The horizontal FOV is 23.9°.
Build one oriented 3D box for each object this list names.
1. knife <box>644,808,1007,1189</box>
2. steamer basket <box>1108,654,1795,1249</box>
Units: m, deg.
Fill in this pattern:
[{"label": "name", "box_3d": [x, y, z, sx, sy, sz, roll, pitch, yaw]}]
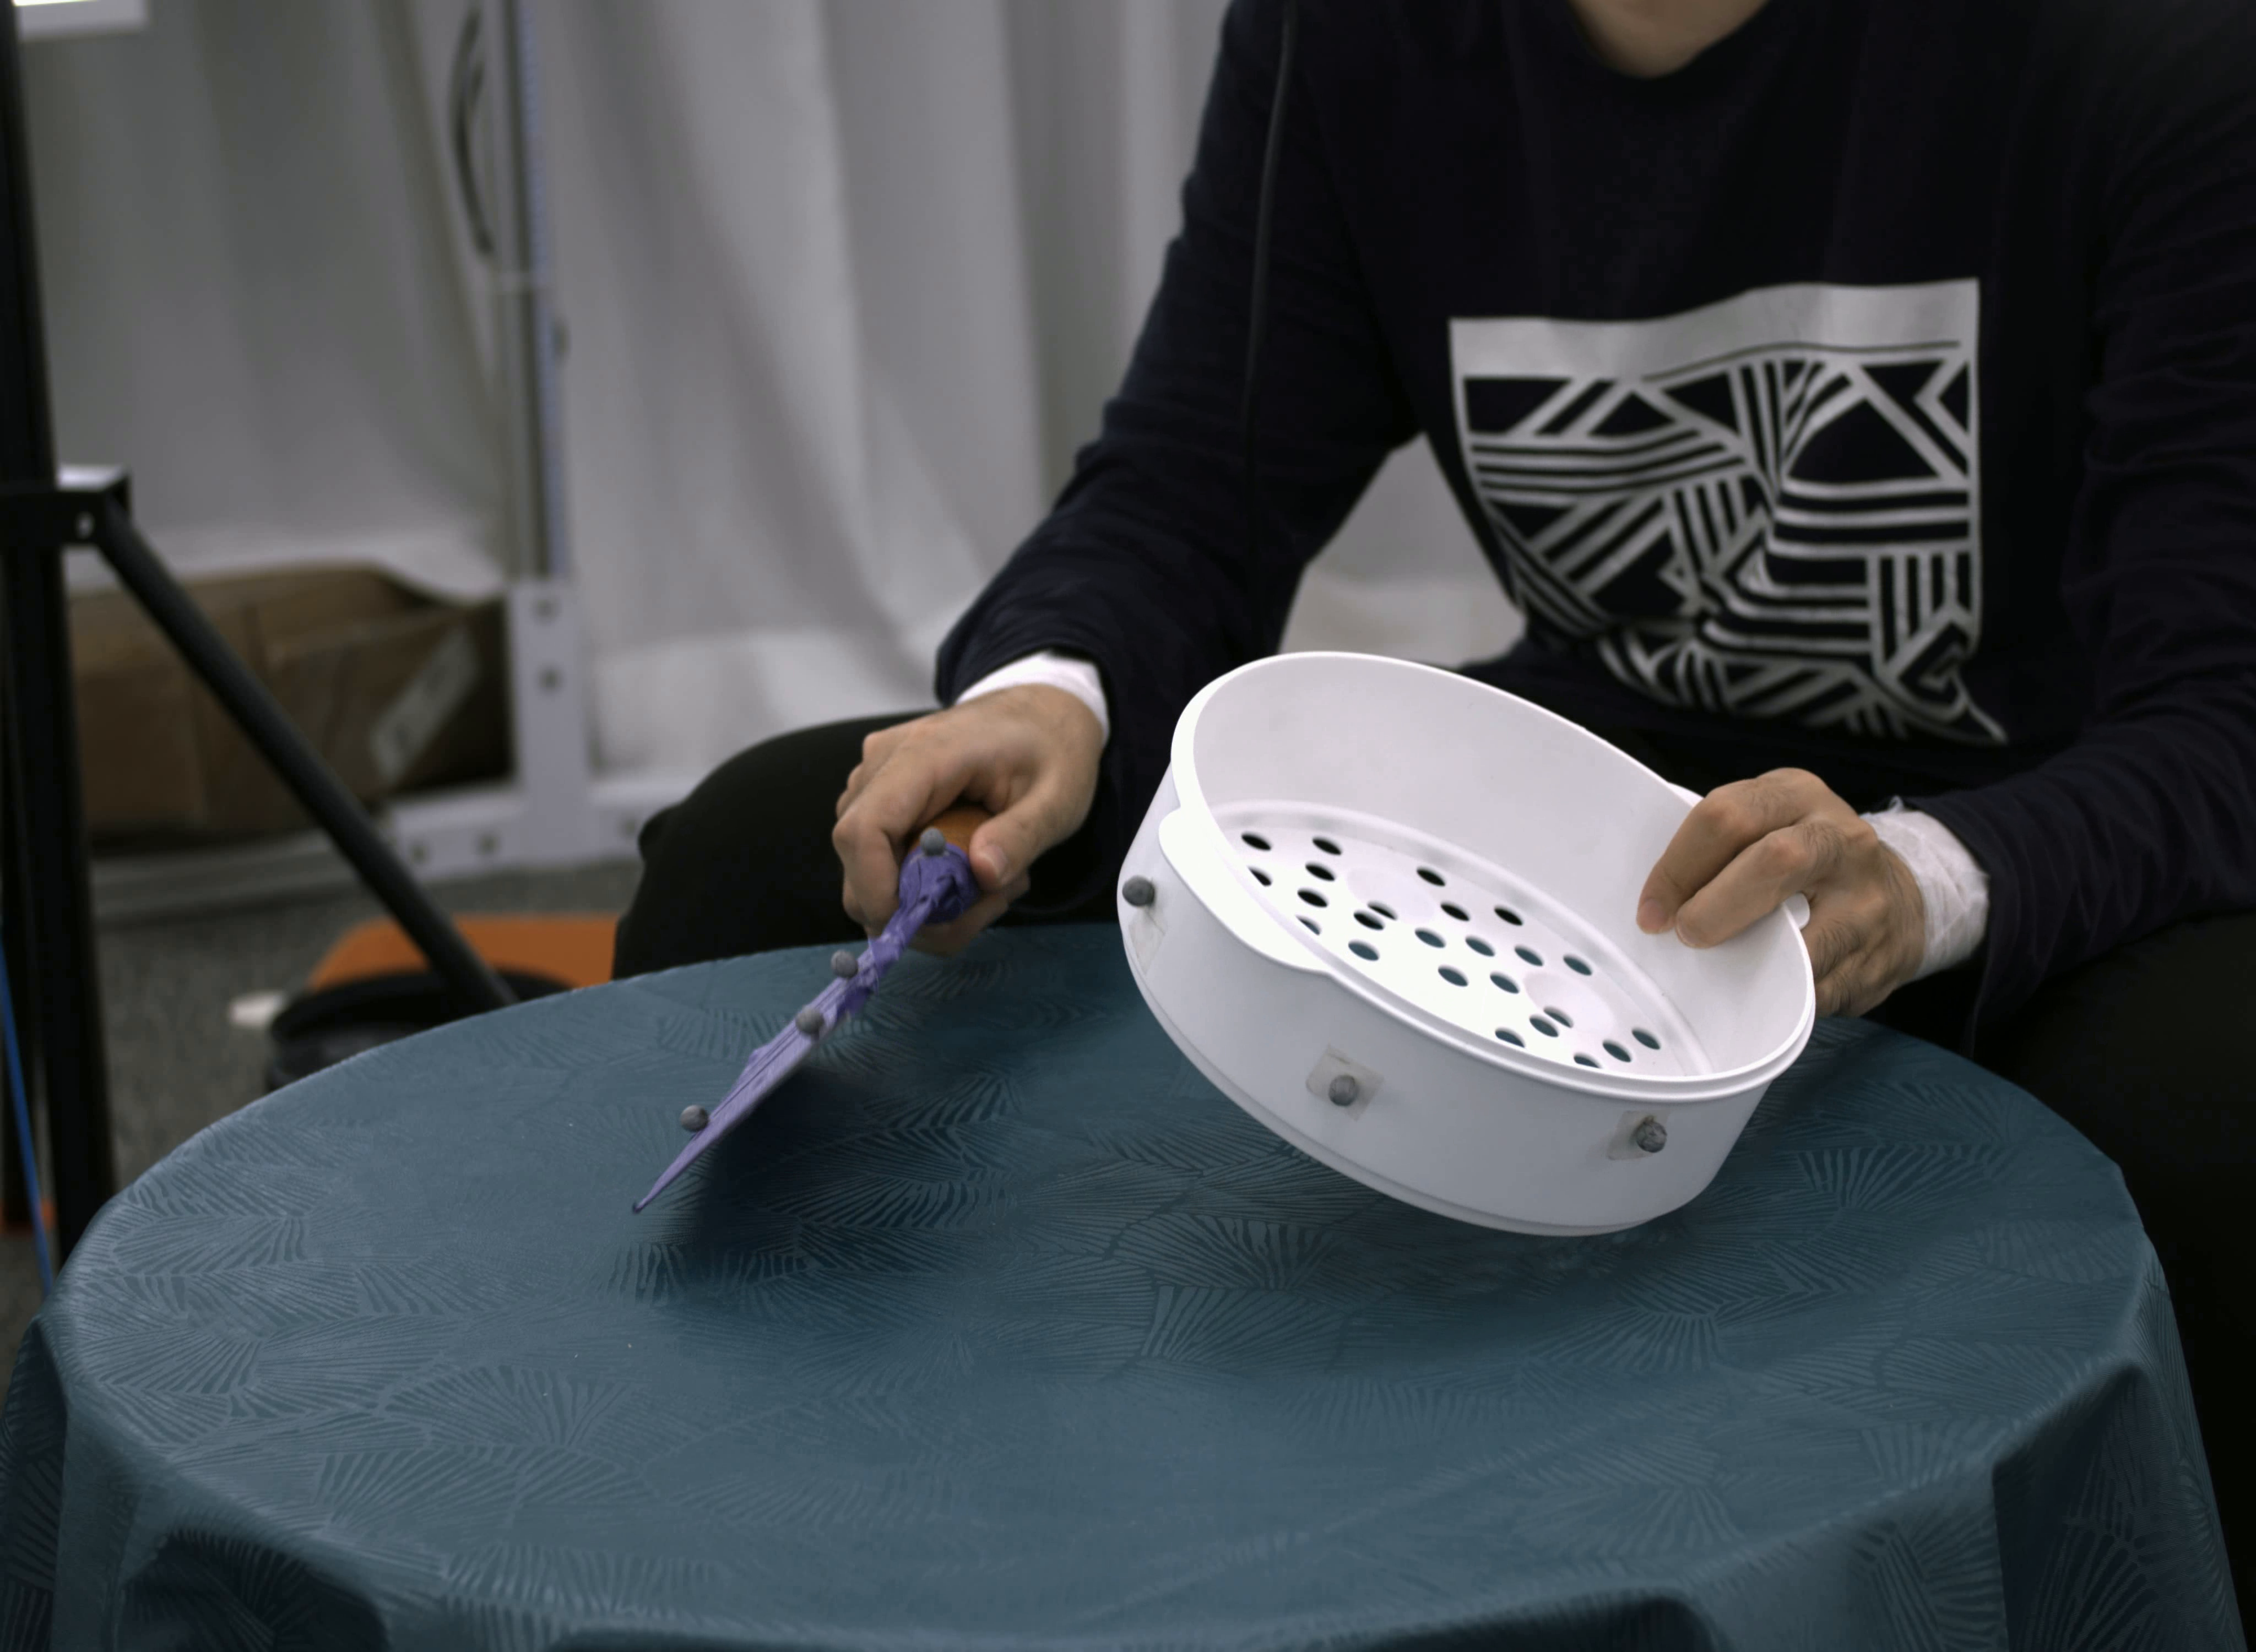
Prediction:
[{"label": "knife", "box_3d": [-0.094, 0.050, 1.644, 0.104, 0.032, 0.314, -39, 2, 11]}, {"label": "steamer basket", "box_3d": [0.090, 0.037, 1.520, 0.224, 0.069, 0.206, 0, 39, -42]}]
